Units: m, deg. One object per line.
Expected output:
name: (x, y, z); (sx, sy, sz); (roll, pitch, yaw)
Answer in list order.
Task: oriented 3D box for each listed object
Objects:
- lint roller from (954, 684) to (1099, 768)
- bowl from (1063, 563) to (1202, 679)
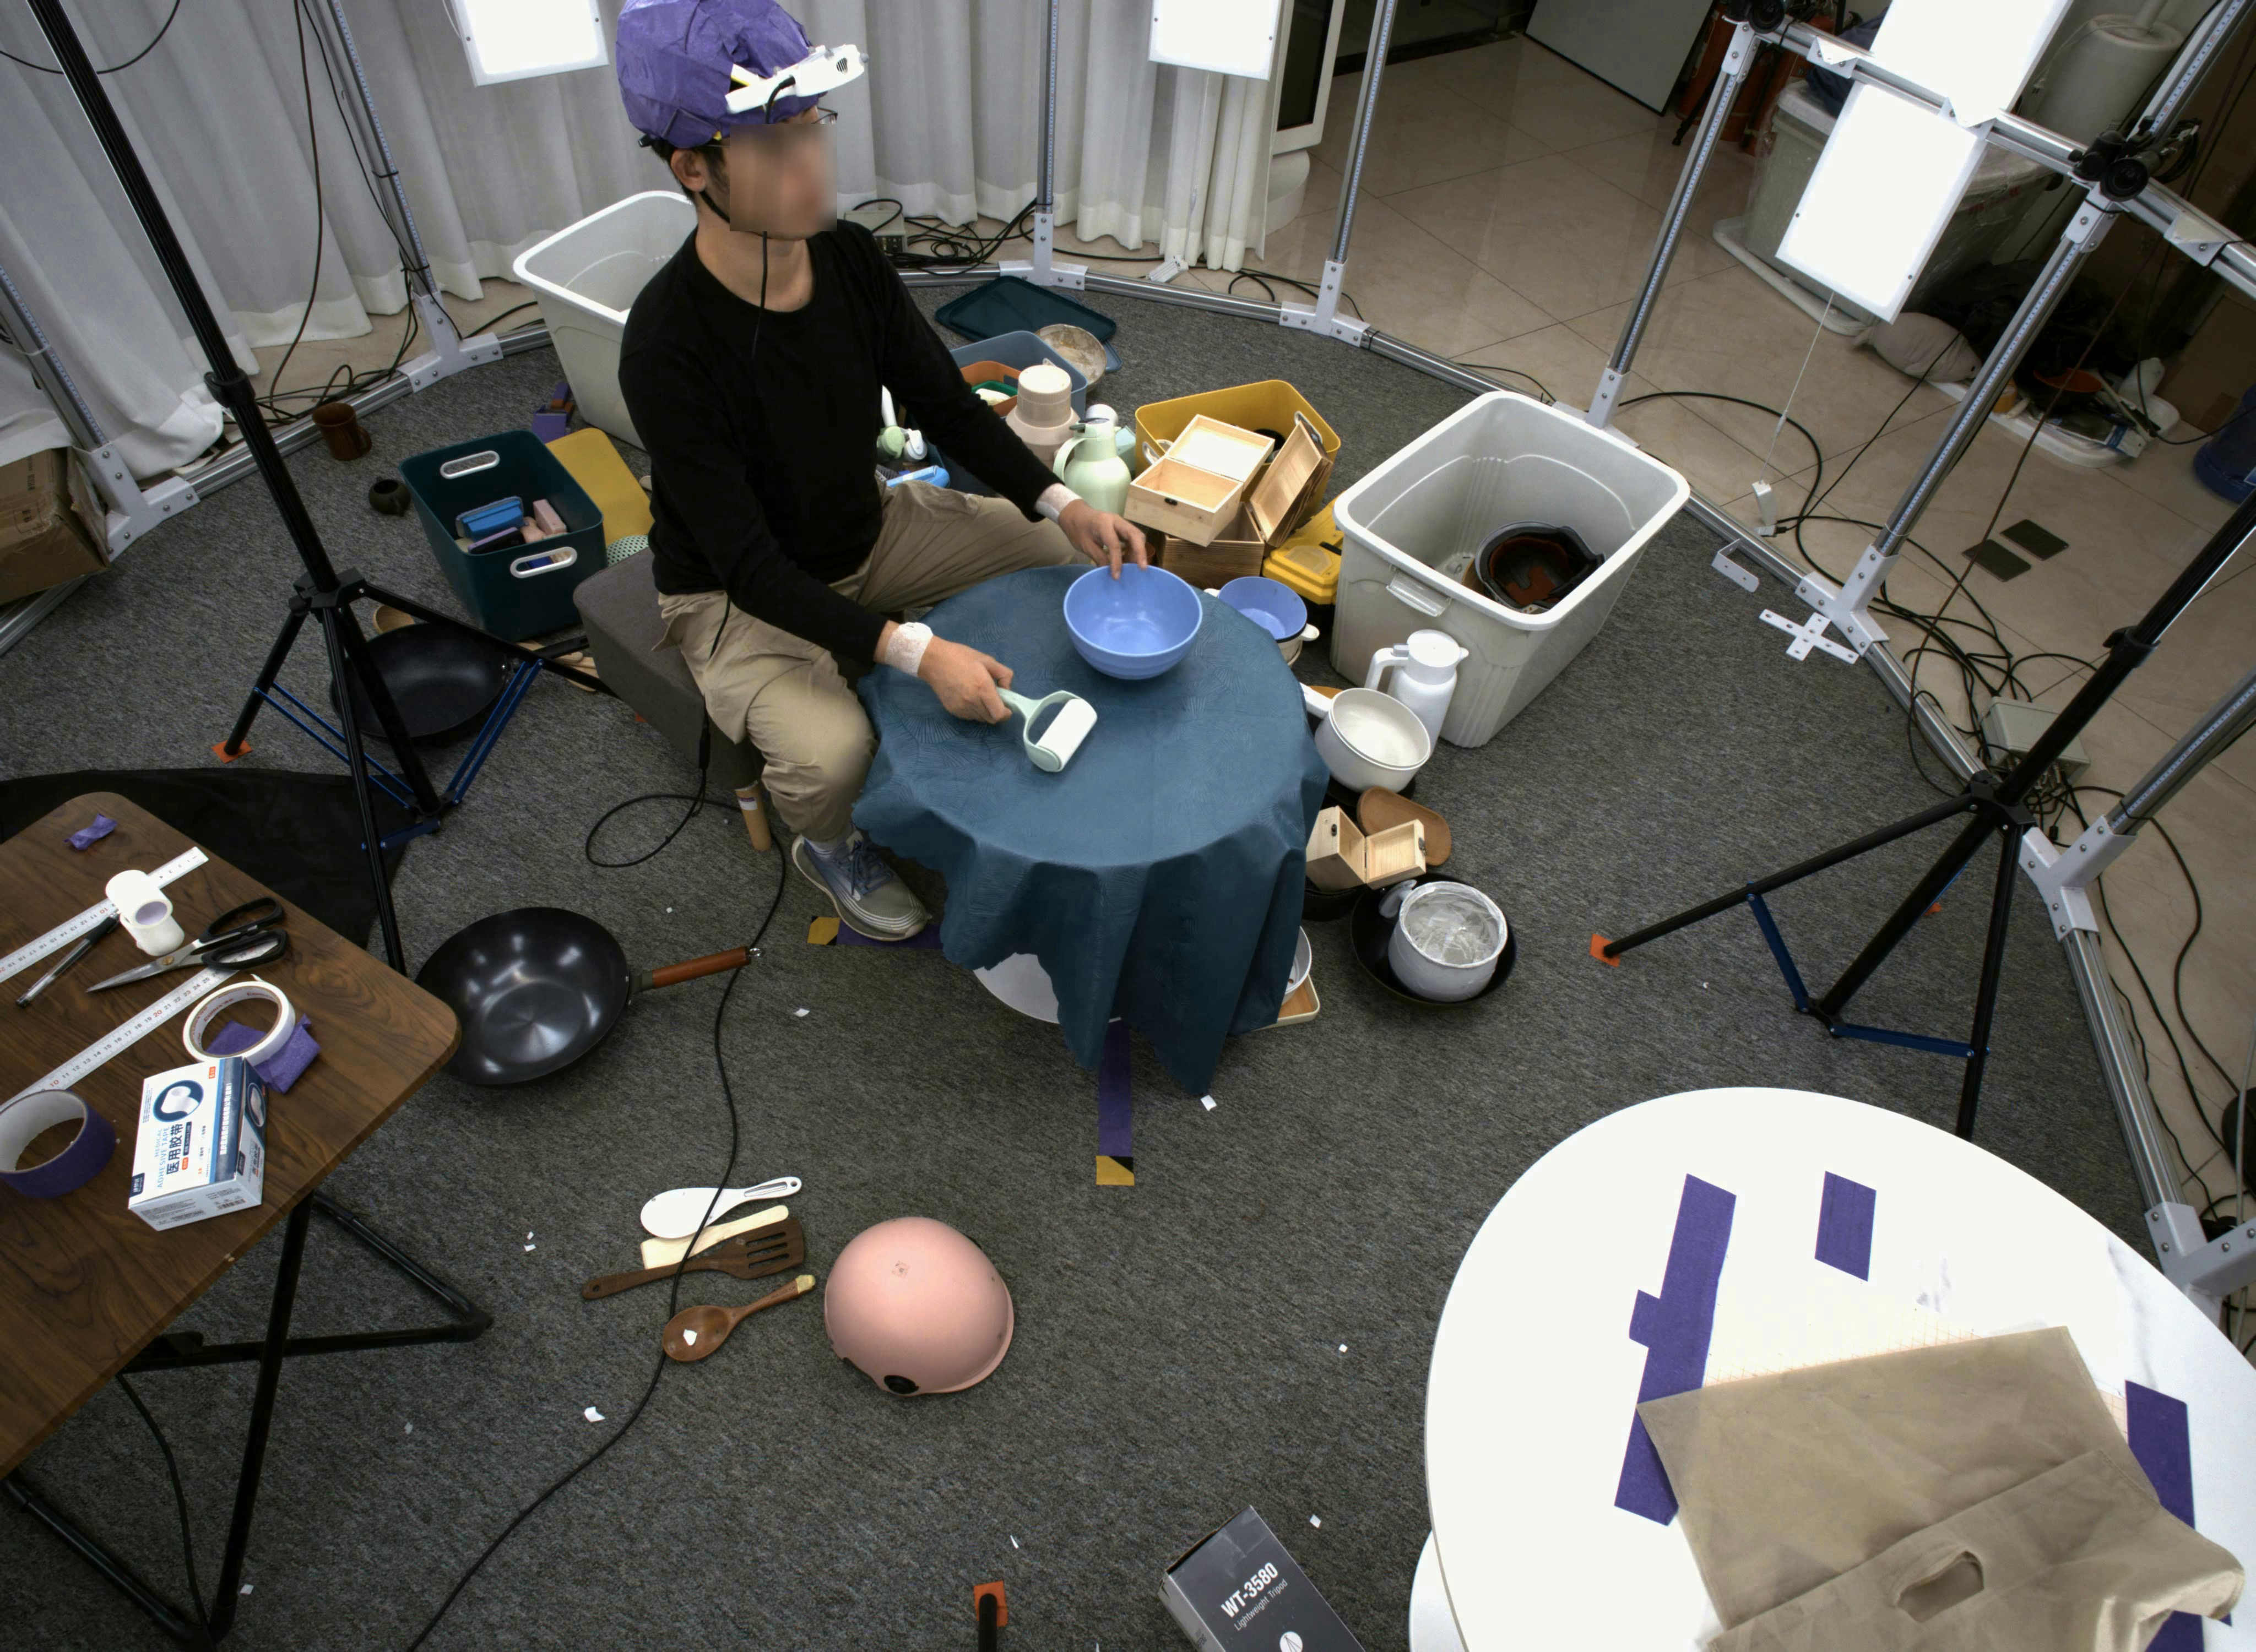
lint roller: (-0.147, -0.161, 1.759); (0.198, 0.047, 0.119); (25, 54, 10)
bowl: (0.005, -0.280, 1.851); (0.196, 0.093, 0.201); (1, 50, -2)
